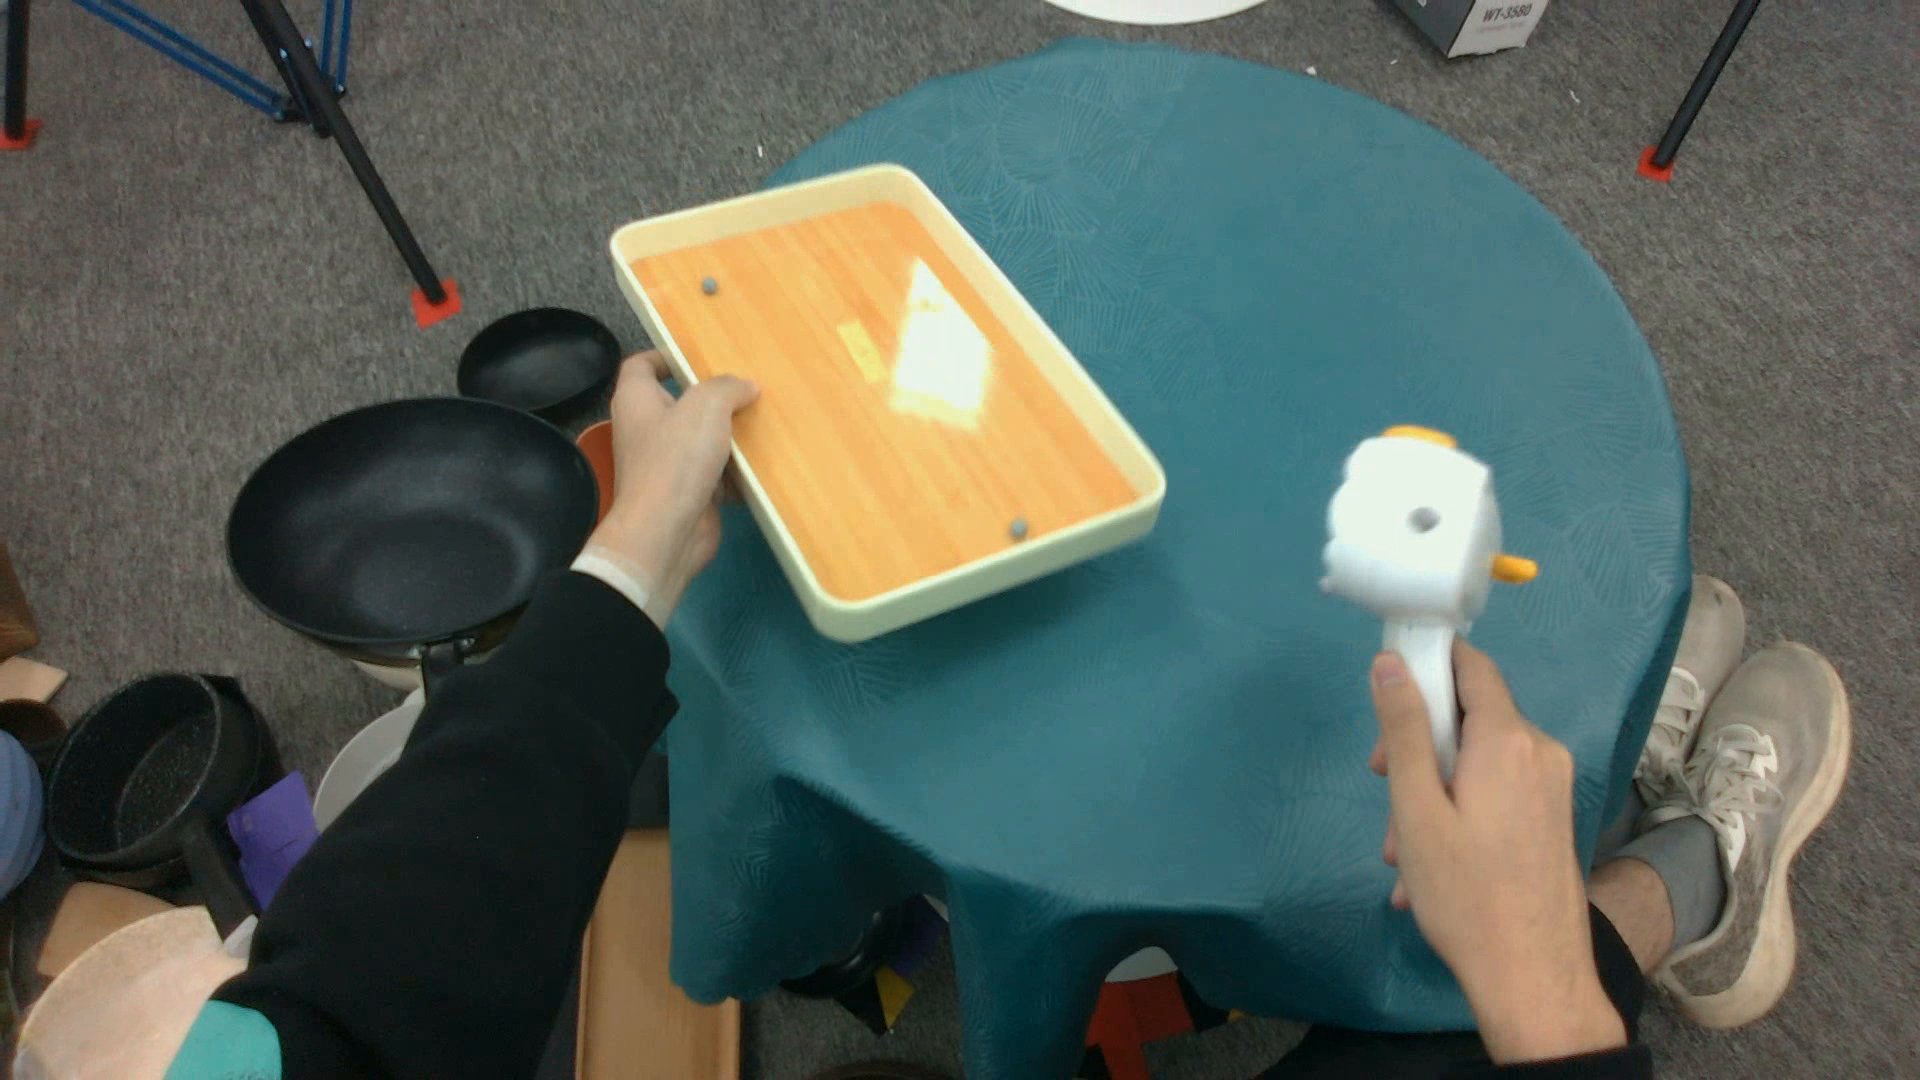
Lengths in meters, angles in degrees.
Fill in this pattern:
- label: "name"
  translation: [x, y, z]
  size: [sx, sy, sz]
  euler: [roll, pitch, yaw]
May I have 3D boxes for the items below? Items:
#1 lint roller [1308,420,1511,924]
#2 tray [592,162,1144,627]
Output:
- label: "lint roller"
  translation: [0.178, 0.056, 0.561]
  size: [0.074, 0.193, 0.192]
  euler: [7, 89, 16]
- label: "tray"
  translation: [-0.057, -0.094, 0.728]
  size: [0.192, 0.027, 0.301]
  euler: [-18, 53, -23]
